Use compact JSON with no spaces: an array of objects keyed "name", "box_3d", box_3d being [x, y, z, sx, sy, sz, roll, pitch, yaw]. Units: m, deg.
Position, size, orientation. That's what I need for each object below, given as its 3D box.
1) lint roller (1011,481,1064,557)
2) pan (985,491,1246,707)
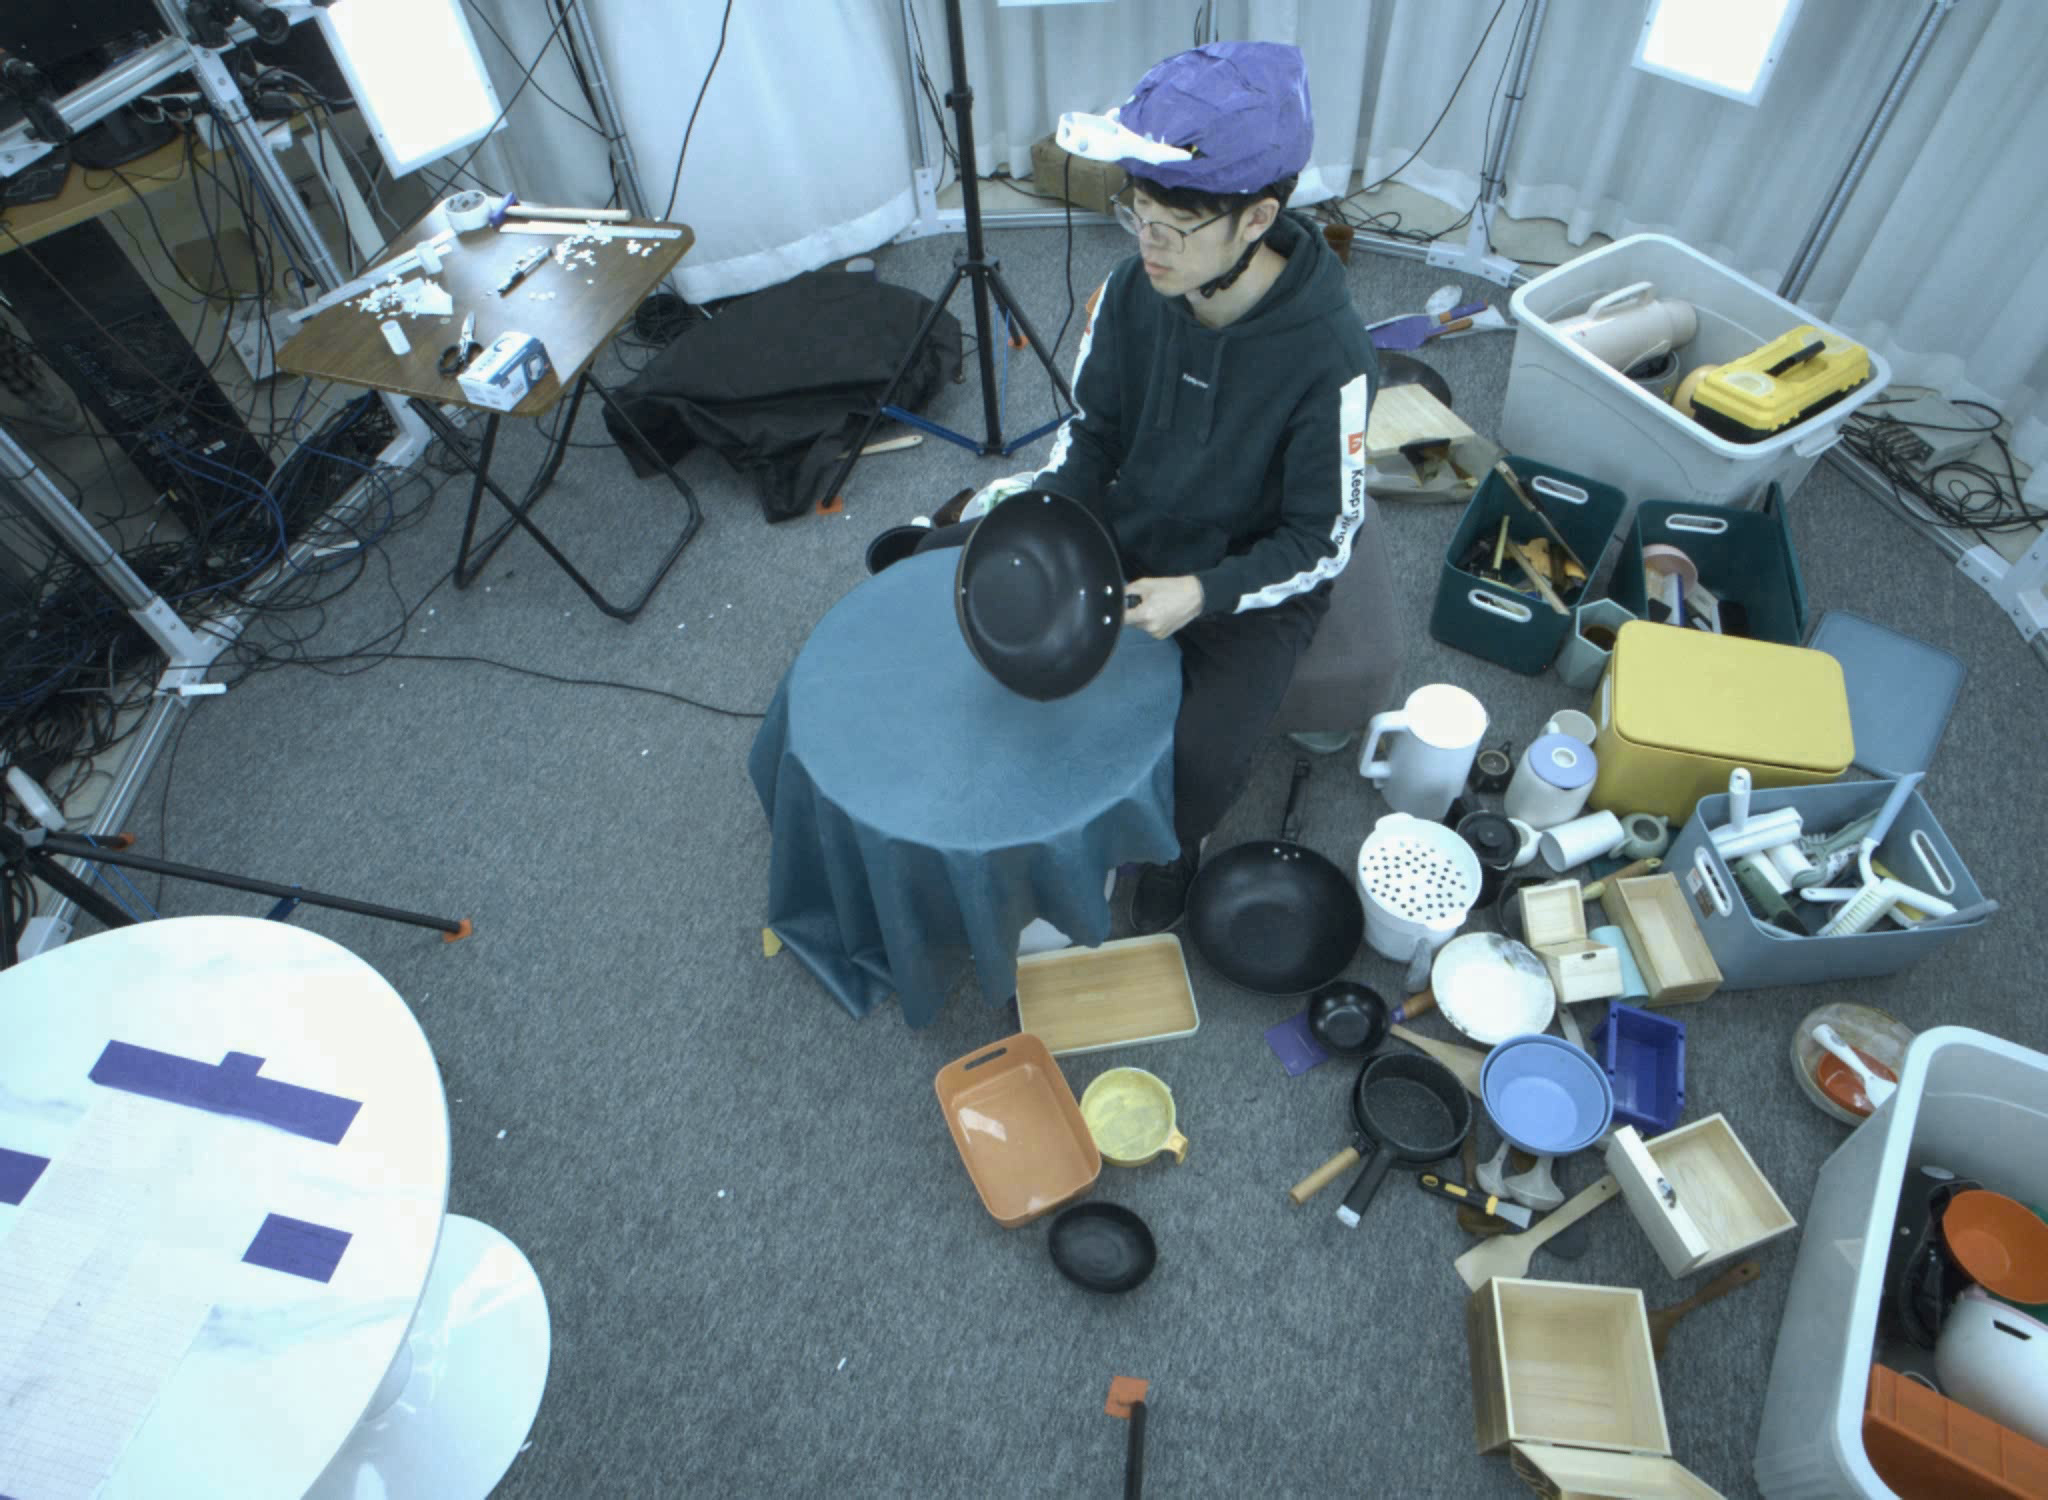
[{"name":"lint roller","box_3d":[0.026,-0.301,1.767,0.081,0.199,0.184,19,30,15]},{"name":"pan","box_3d":[0.123,-0.201,1.717,0.473,0.288,0.085,1,4,-38]}]
